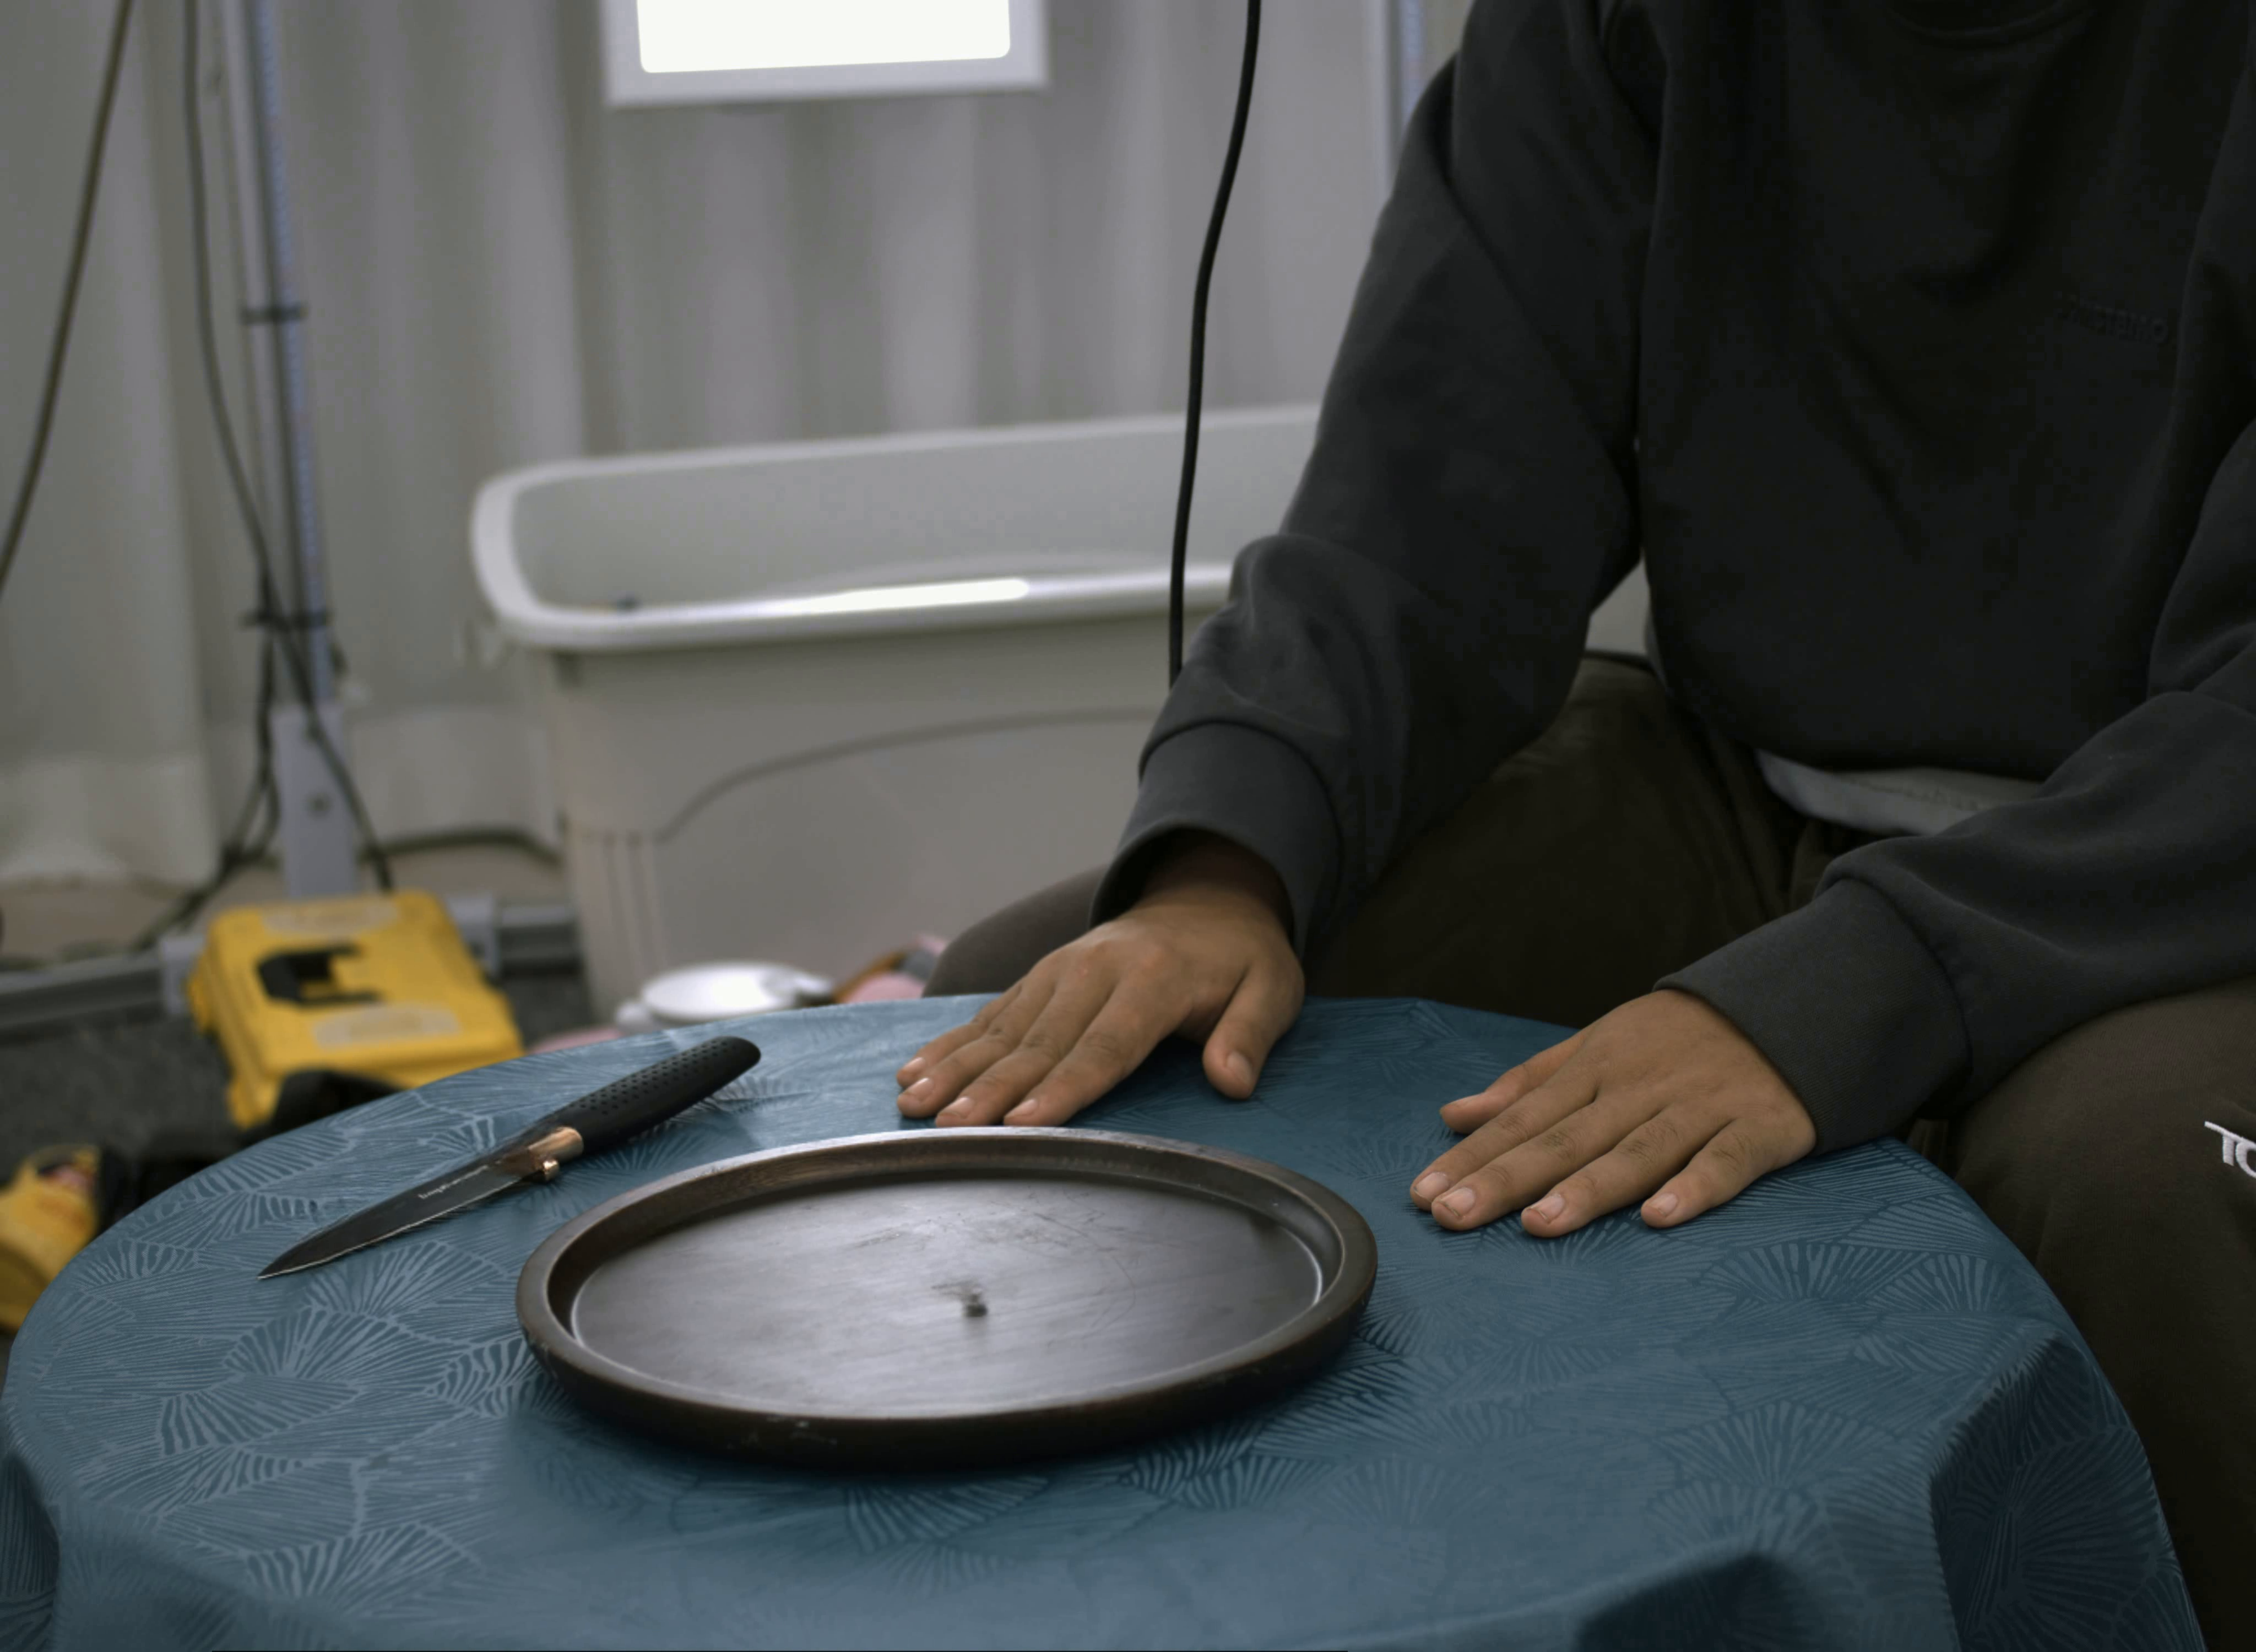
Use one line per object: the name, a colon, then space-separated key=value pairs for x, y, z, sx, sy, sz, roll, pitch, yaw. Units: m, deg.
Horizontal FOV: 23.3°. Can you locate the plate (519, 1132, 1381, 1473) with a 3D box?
plate: x=-0.051 y=0.137 z=1.599 sx=0.254 sy=0.029 sz=0.256 roll=-3 pitch=13 yaw=0

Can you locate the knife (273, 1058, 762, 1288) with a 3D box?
knife: x=-0.194 y=0.111 z=1.747 sx=0.026 sy=0.017 sz=0.225 roll=15 pitch=24 yaw=35
